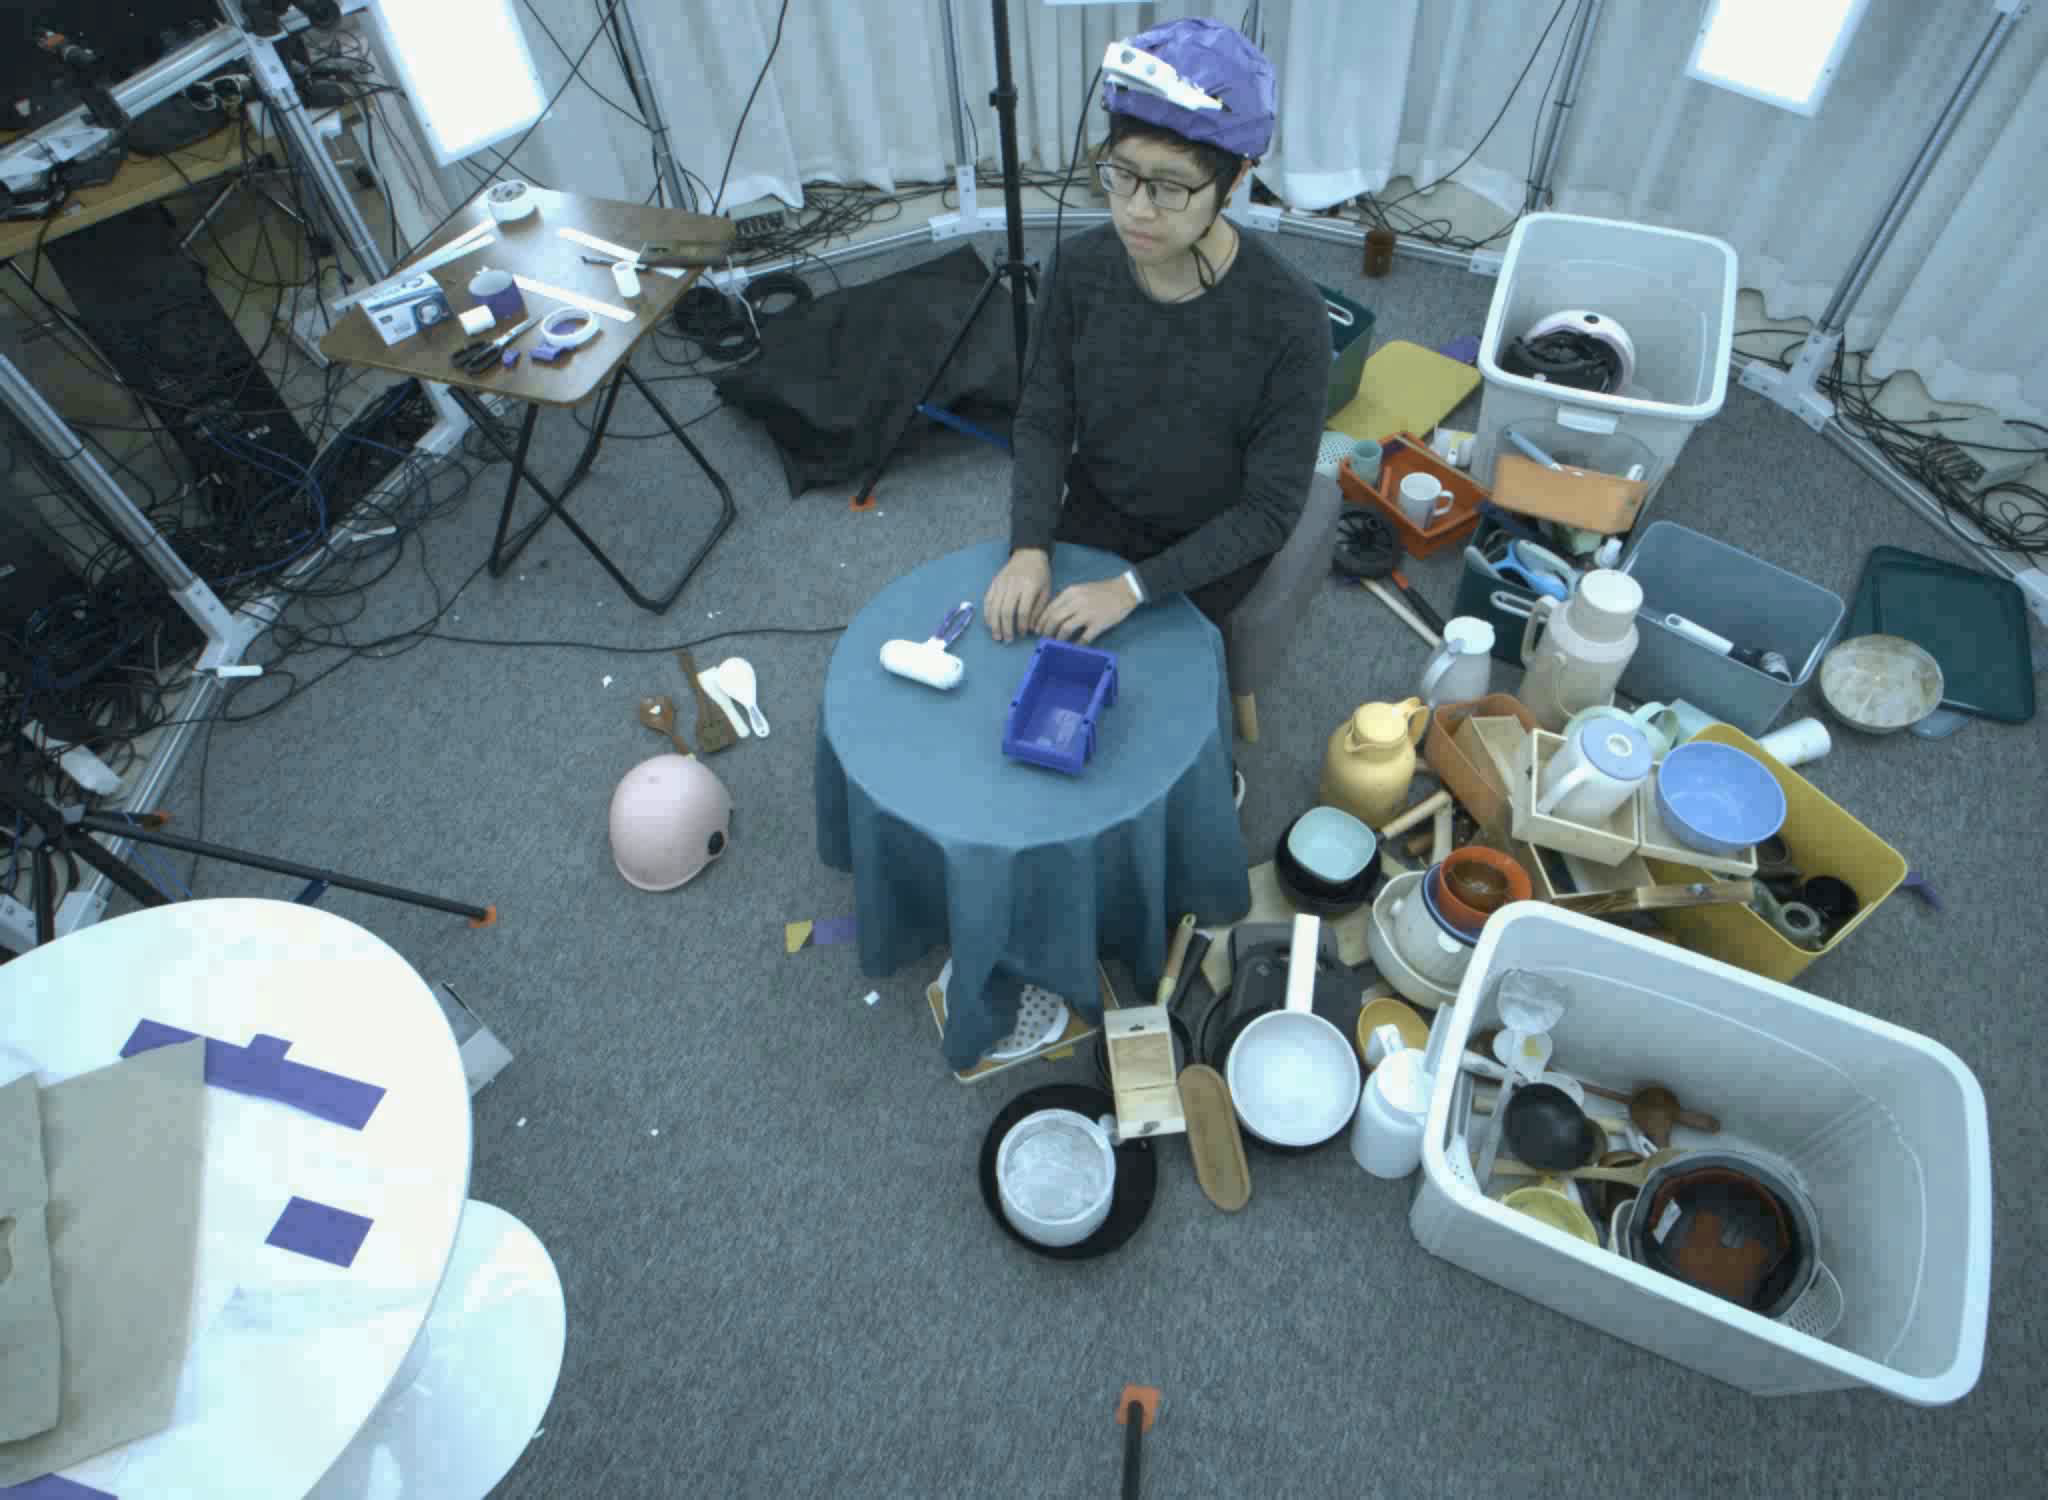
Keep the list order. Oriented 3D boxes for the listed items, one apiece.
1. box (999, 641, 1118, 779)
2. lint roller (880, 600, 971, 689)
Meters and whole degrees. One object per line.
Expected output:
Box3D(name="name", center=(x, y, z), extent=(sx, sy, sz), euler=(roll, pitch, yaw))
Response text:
Box3D(name="box", center=(0.052, -0.054, 1.774), extent=(0.123, 0.083, 0.179), euler=(16, 54, 13))
Box3D(name="lint roller", center=(-0.128, -0.178, 1.888), extent=(0.131, 0.051, 0.181), euler=(21, 60, 17))
